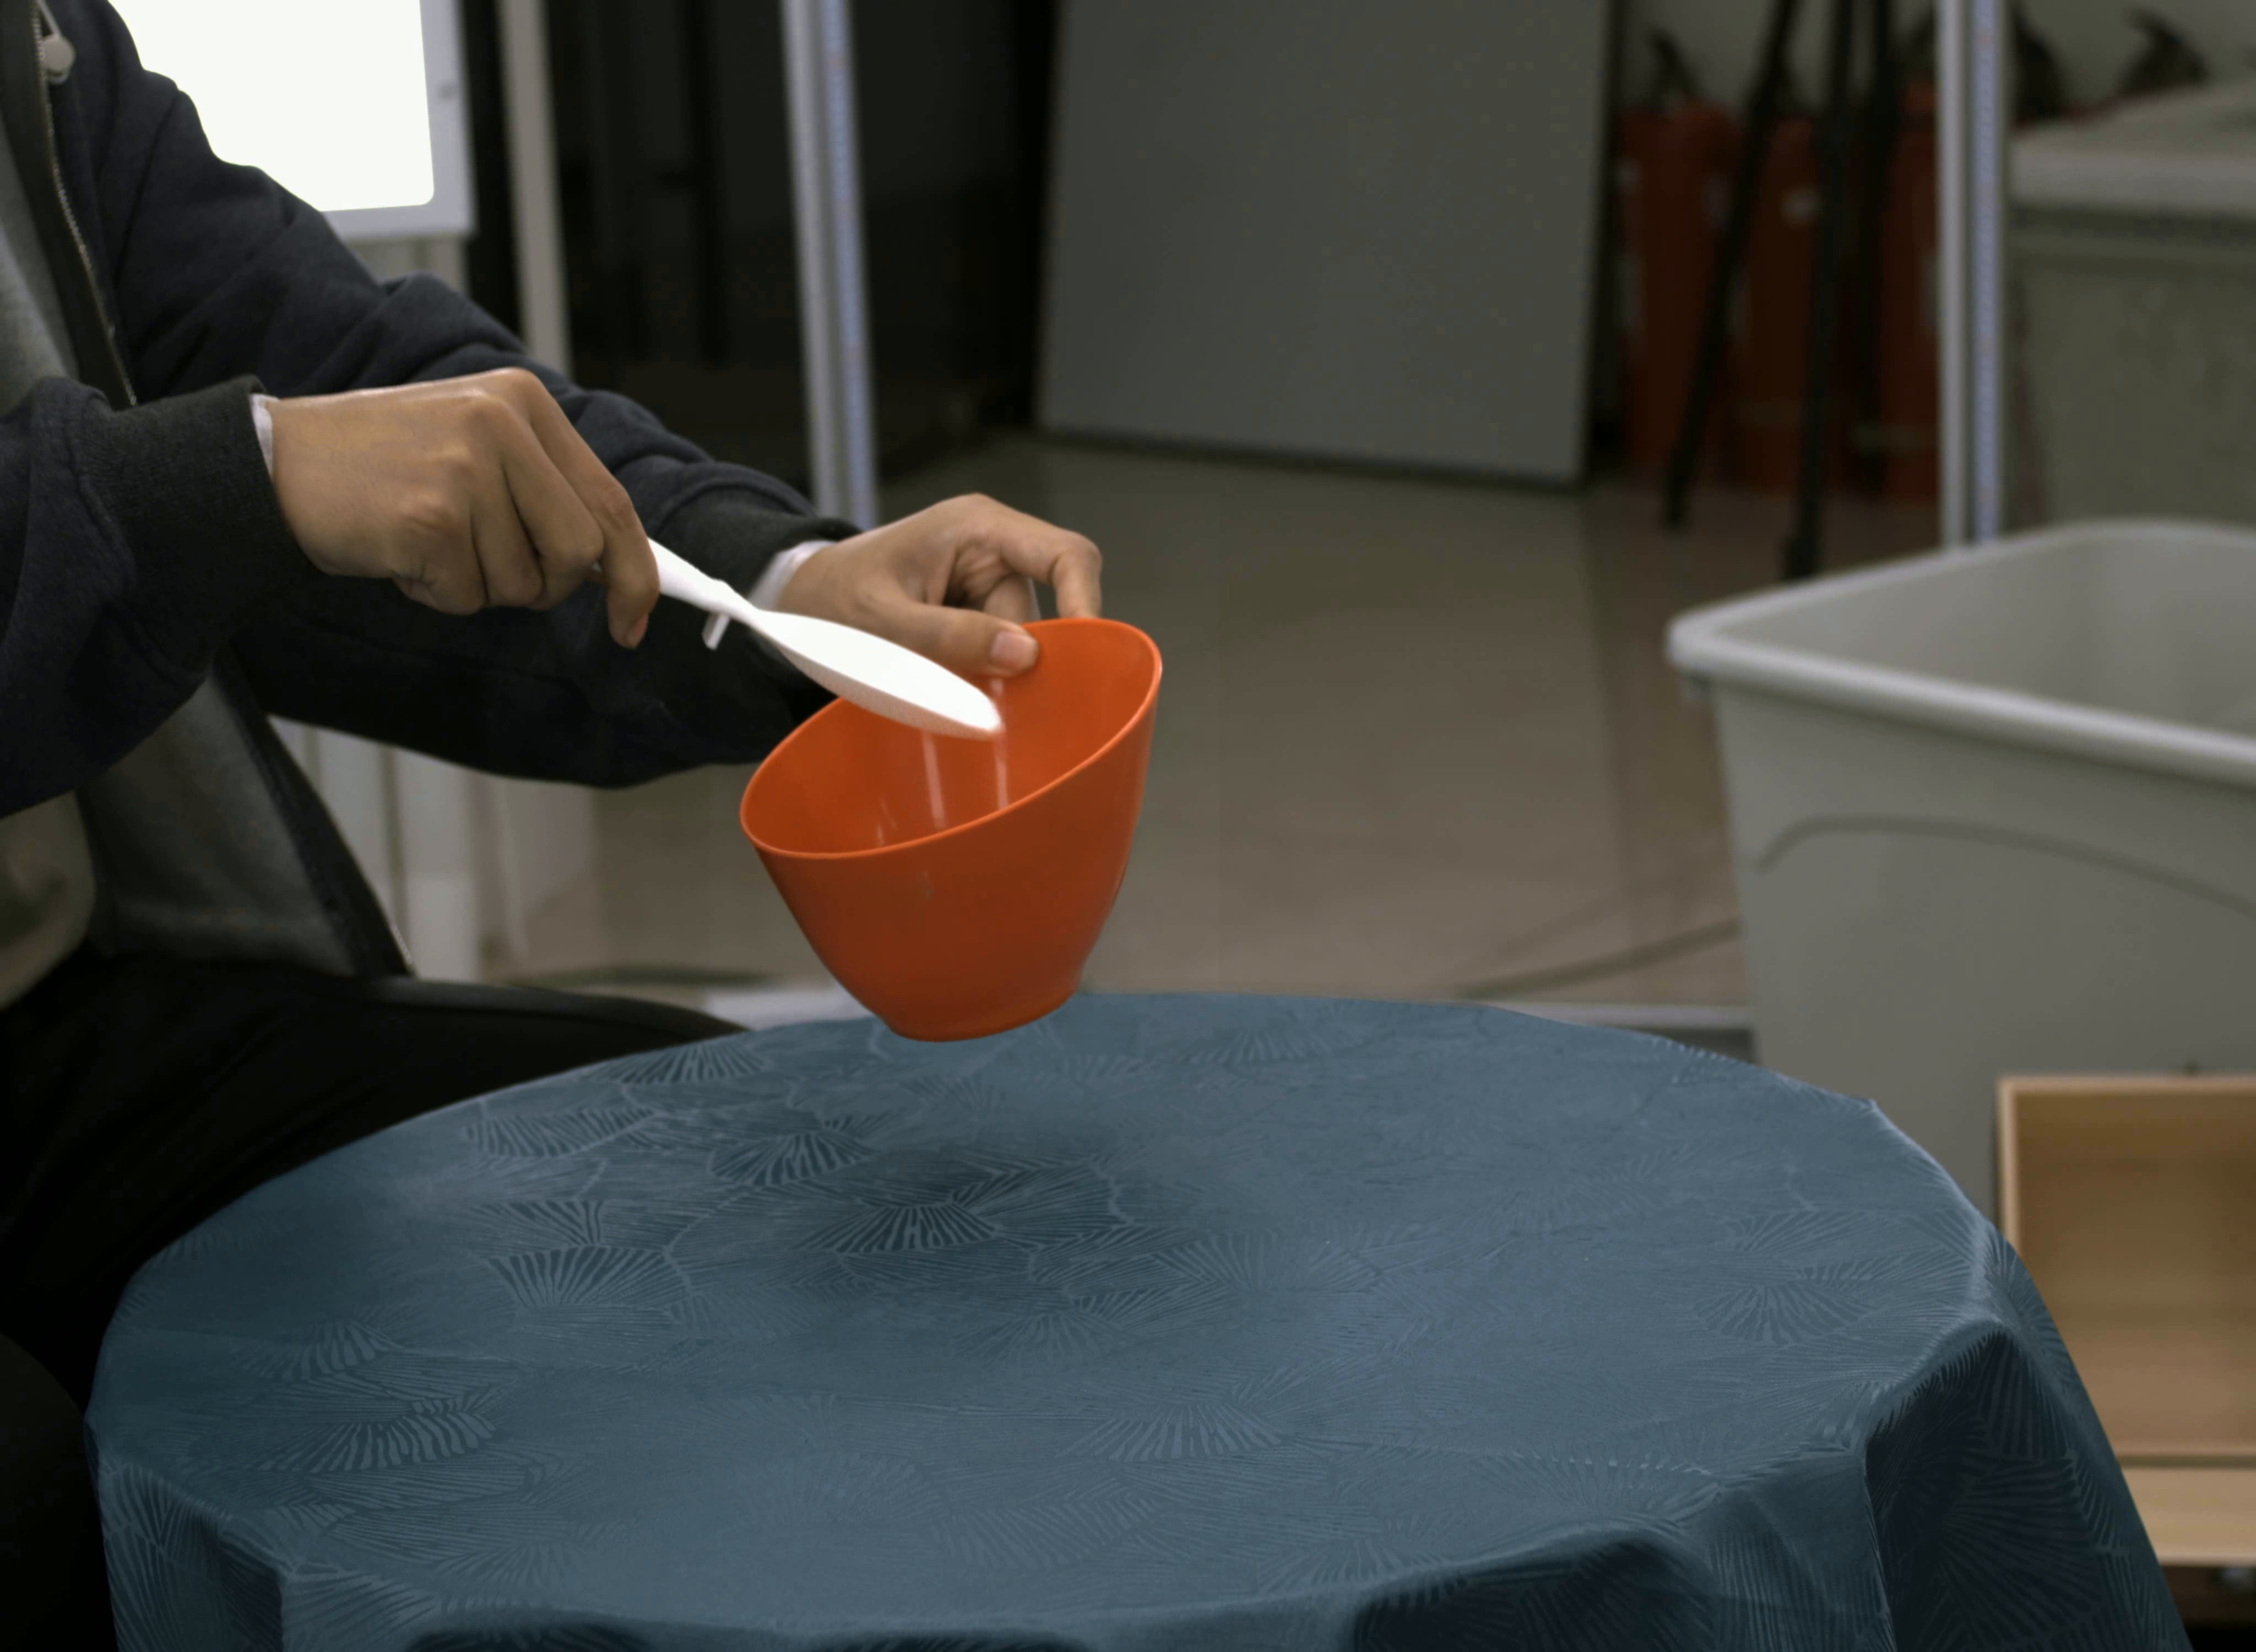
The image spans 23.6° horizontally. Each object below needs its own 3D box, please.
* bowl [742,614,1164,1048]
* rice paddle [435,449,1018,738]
[{"bbox_3d":[-0.048,0.007,1.766,0.146,0.105,0.148,-13,20,4],"label":"bowl"},{"bbox_3d":[-0.124,-0.070,1.740,0.201,0.030,0.069,22,14,-19],"label":"rice paddle"}]
